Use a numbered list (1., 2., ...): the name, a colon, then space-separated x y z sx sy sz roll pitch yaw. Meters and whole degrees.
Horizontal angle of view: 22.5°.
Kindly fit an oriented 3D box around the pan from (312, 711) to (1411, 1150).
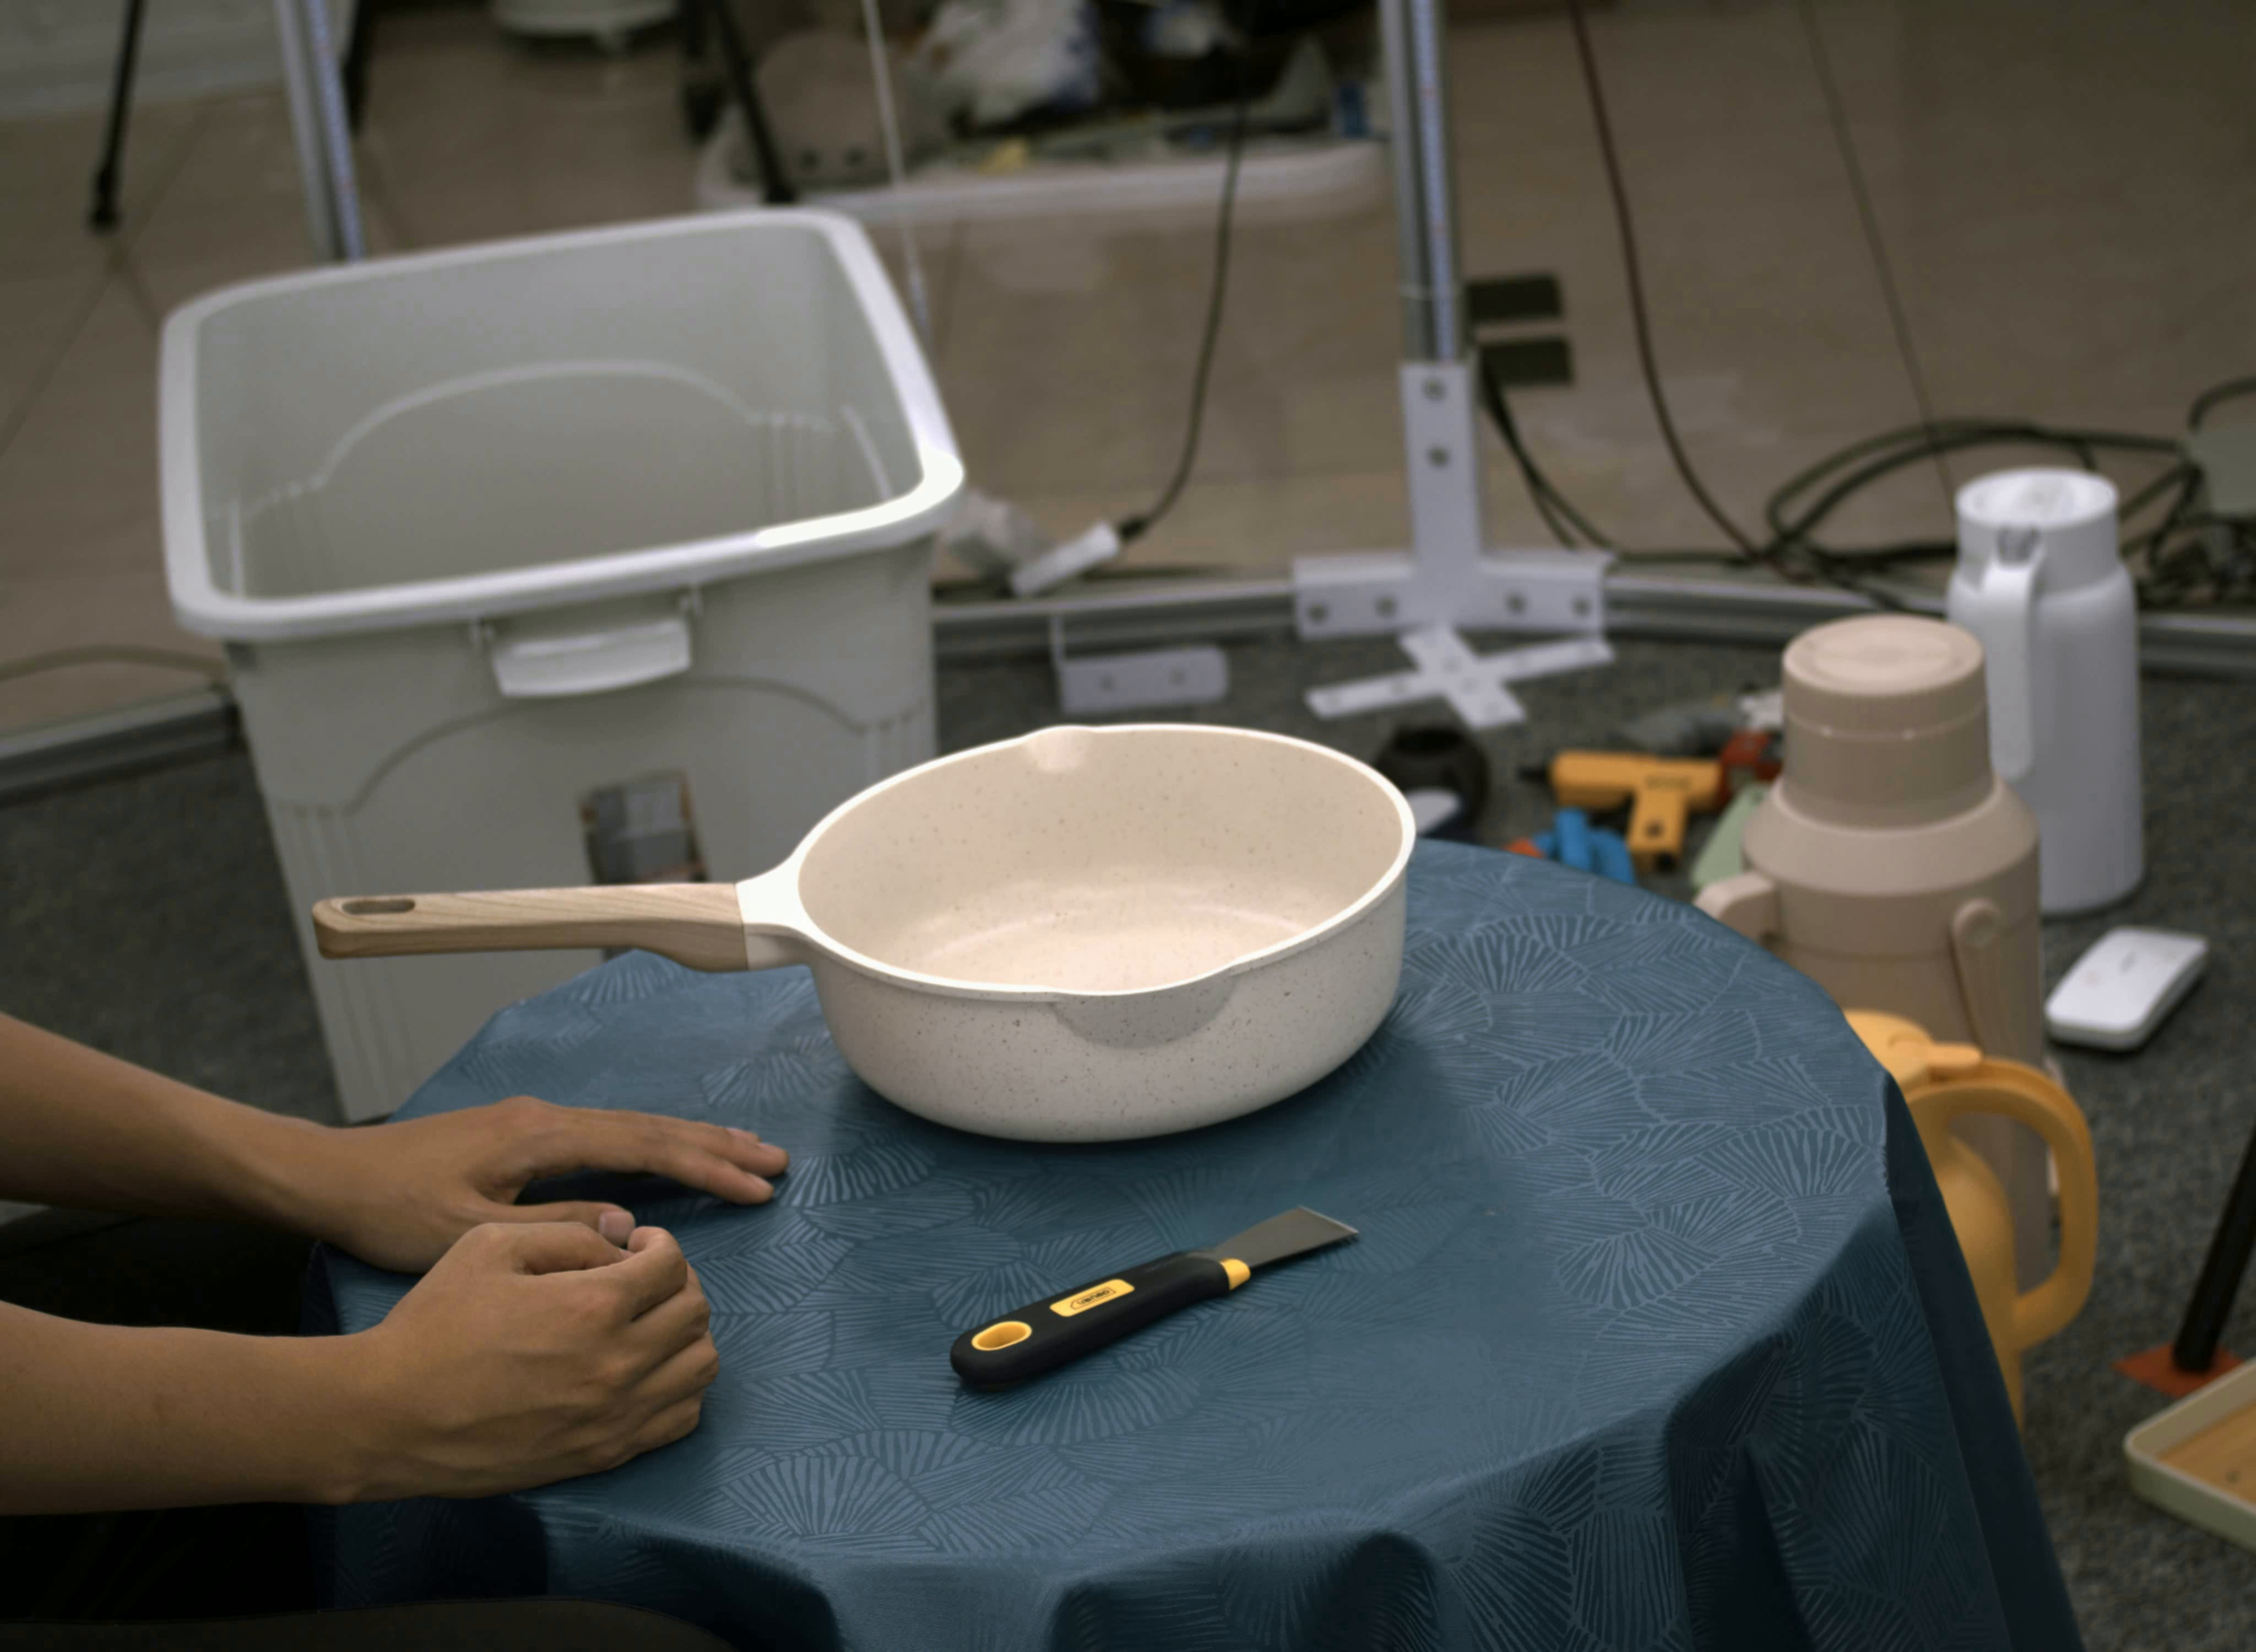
1. pan: -0.100 0.053 2.250 0.434 0.104 0.259 -9 28 -5

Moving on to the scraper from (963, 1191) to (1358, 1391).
1. scraper: 0.010 0.169 2.066 0.170 0.015 0.038 -21 33 -34
